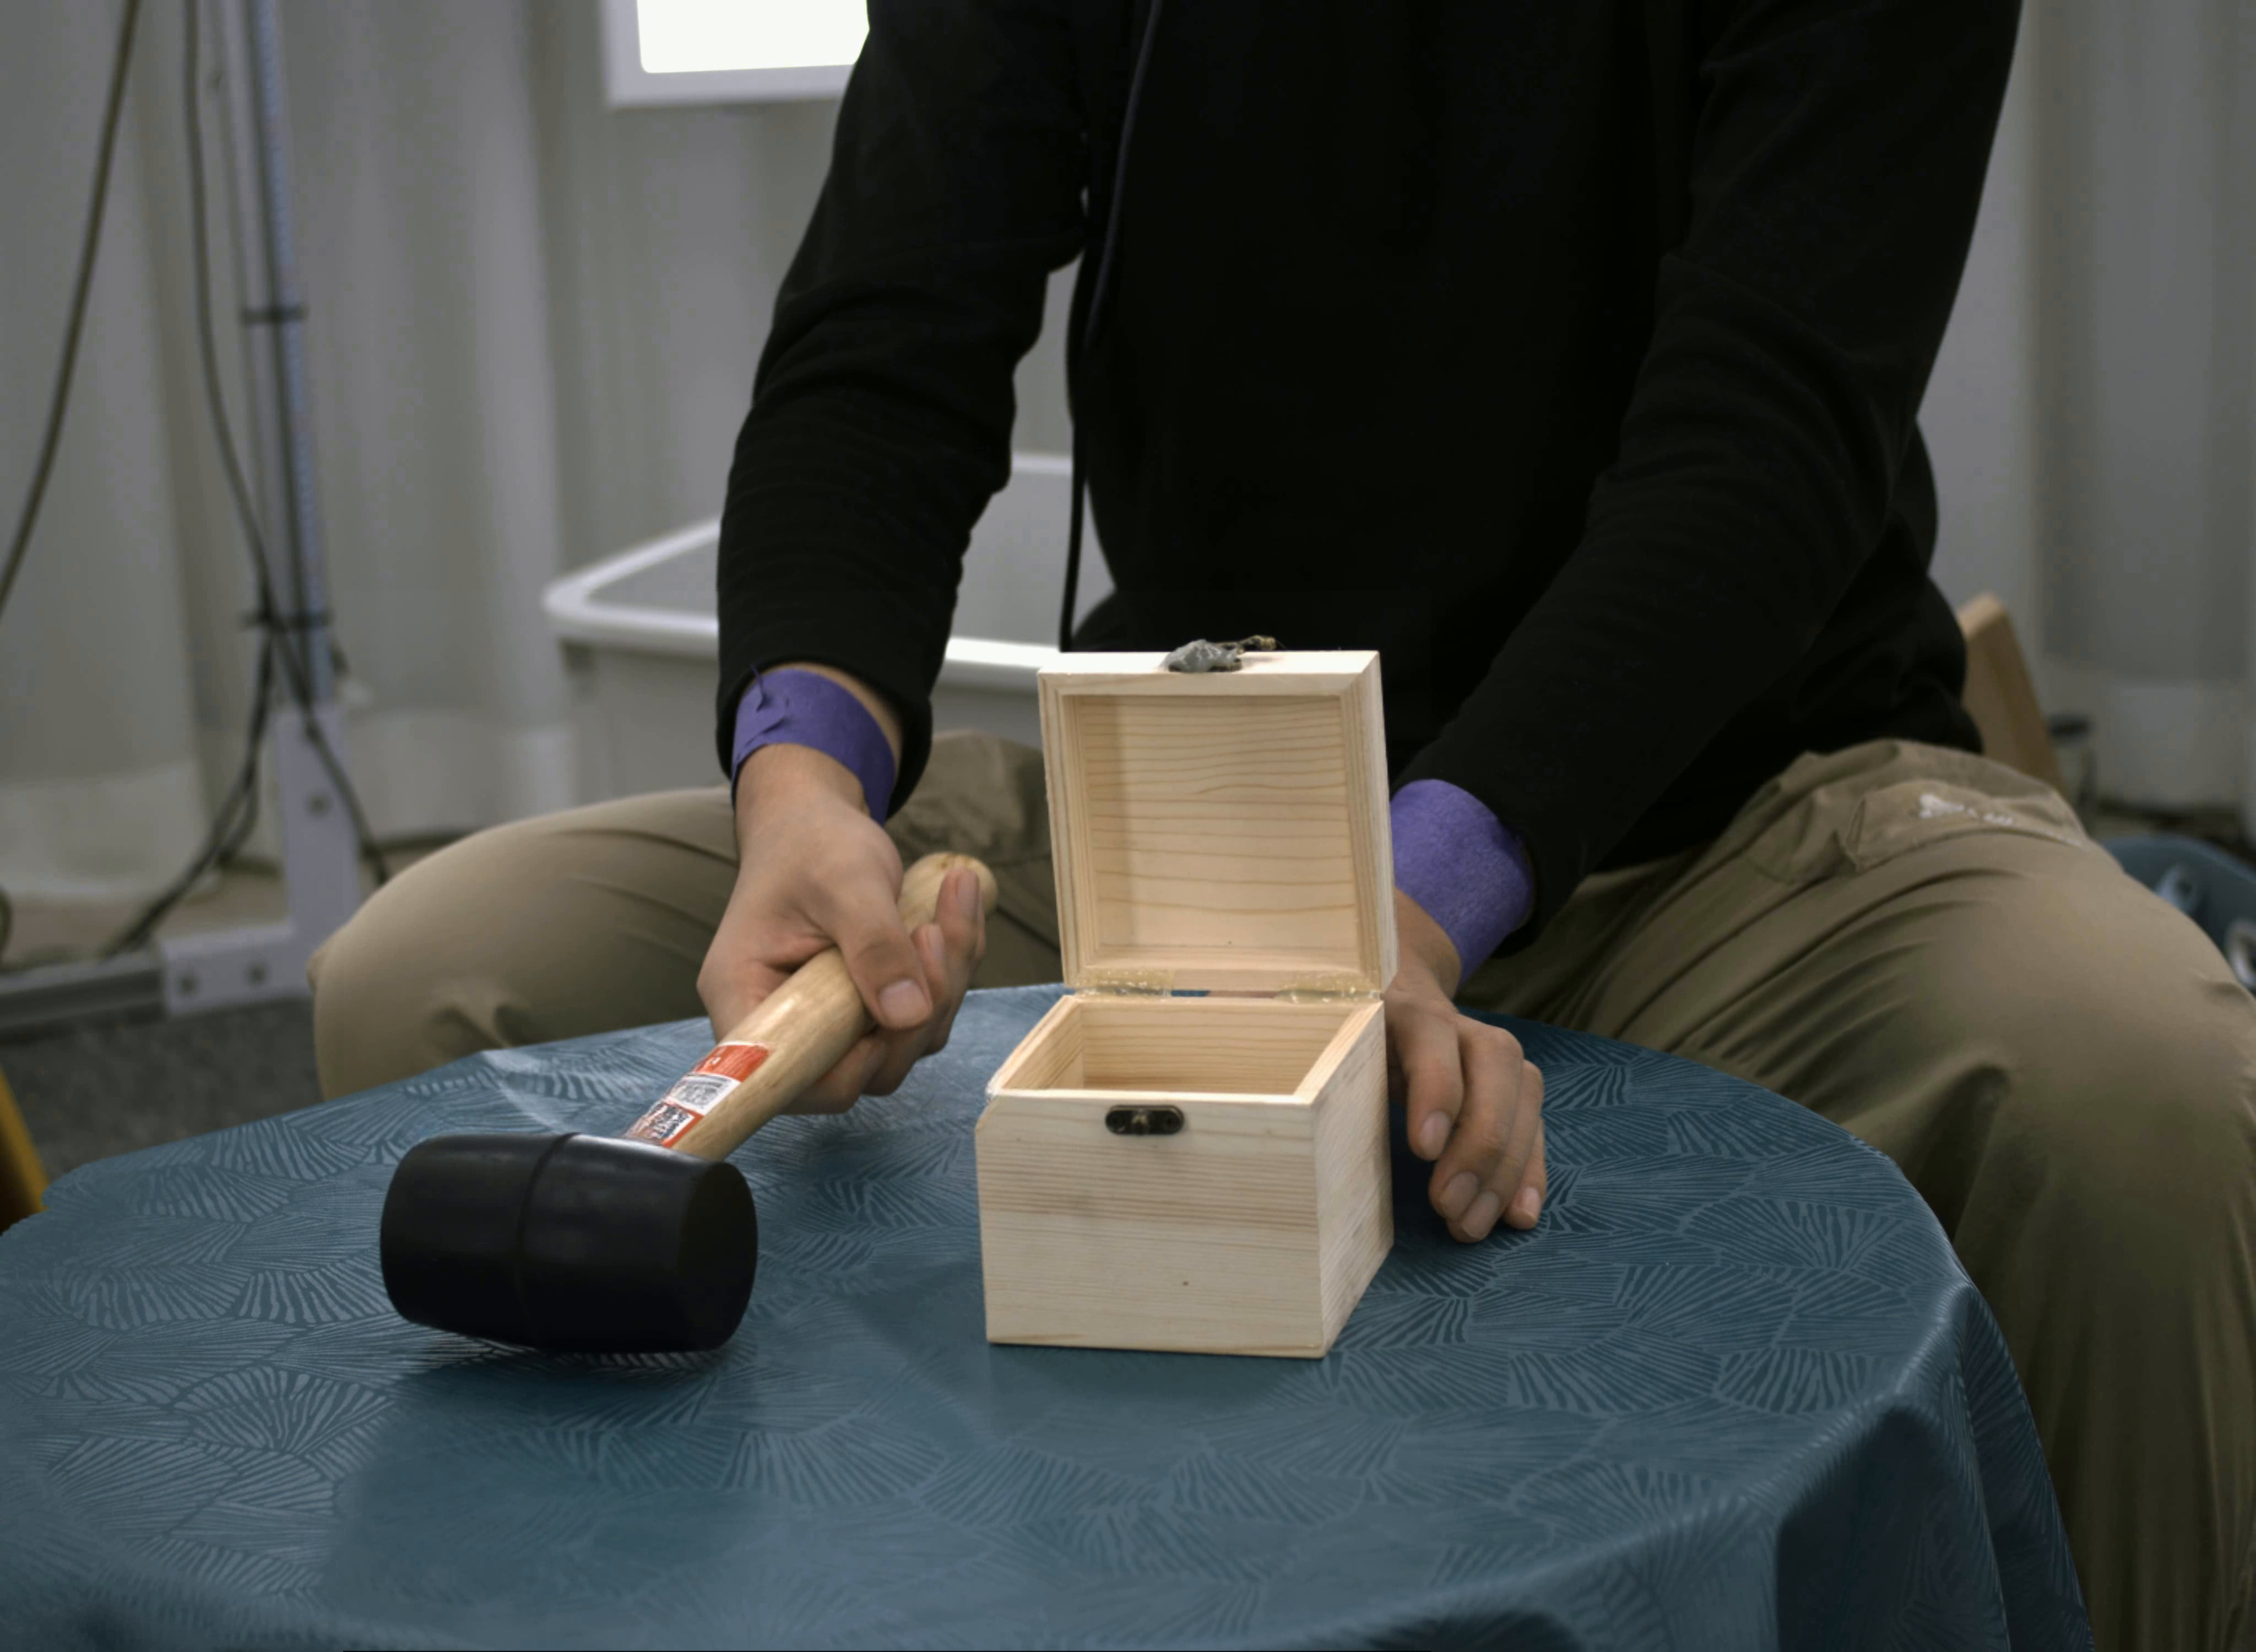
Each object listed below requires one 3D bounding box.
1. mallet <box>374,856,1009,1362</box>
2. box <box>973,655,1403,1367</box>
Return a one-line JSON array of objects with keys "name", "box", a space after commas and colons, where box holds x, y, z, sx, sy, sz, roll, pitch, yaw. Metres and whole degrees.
[{"name": "mallet", "box": [-0.116, 0.070, 1.709, 0.102, 0.064, 0.341, 7, 24, 20]}, {"name": "box", "box": [0.018, 0.050, 1.608, 0.102, 0.184, 0.134, 2, 12, 15]}]
